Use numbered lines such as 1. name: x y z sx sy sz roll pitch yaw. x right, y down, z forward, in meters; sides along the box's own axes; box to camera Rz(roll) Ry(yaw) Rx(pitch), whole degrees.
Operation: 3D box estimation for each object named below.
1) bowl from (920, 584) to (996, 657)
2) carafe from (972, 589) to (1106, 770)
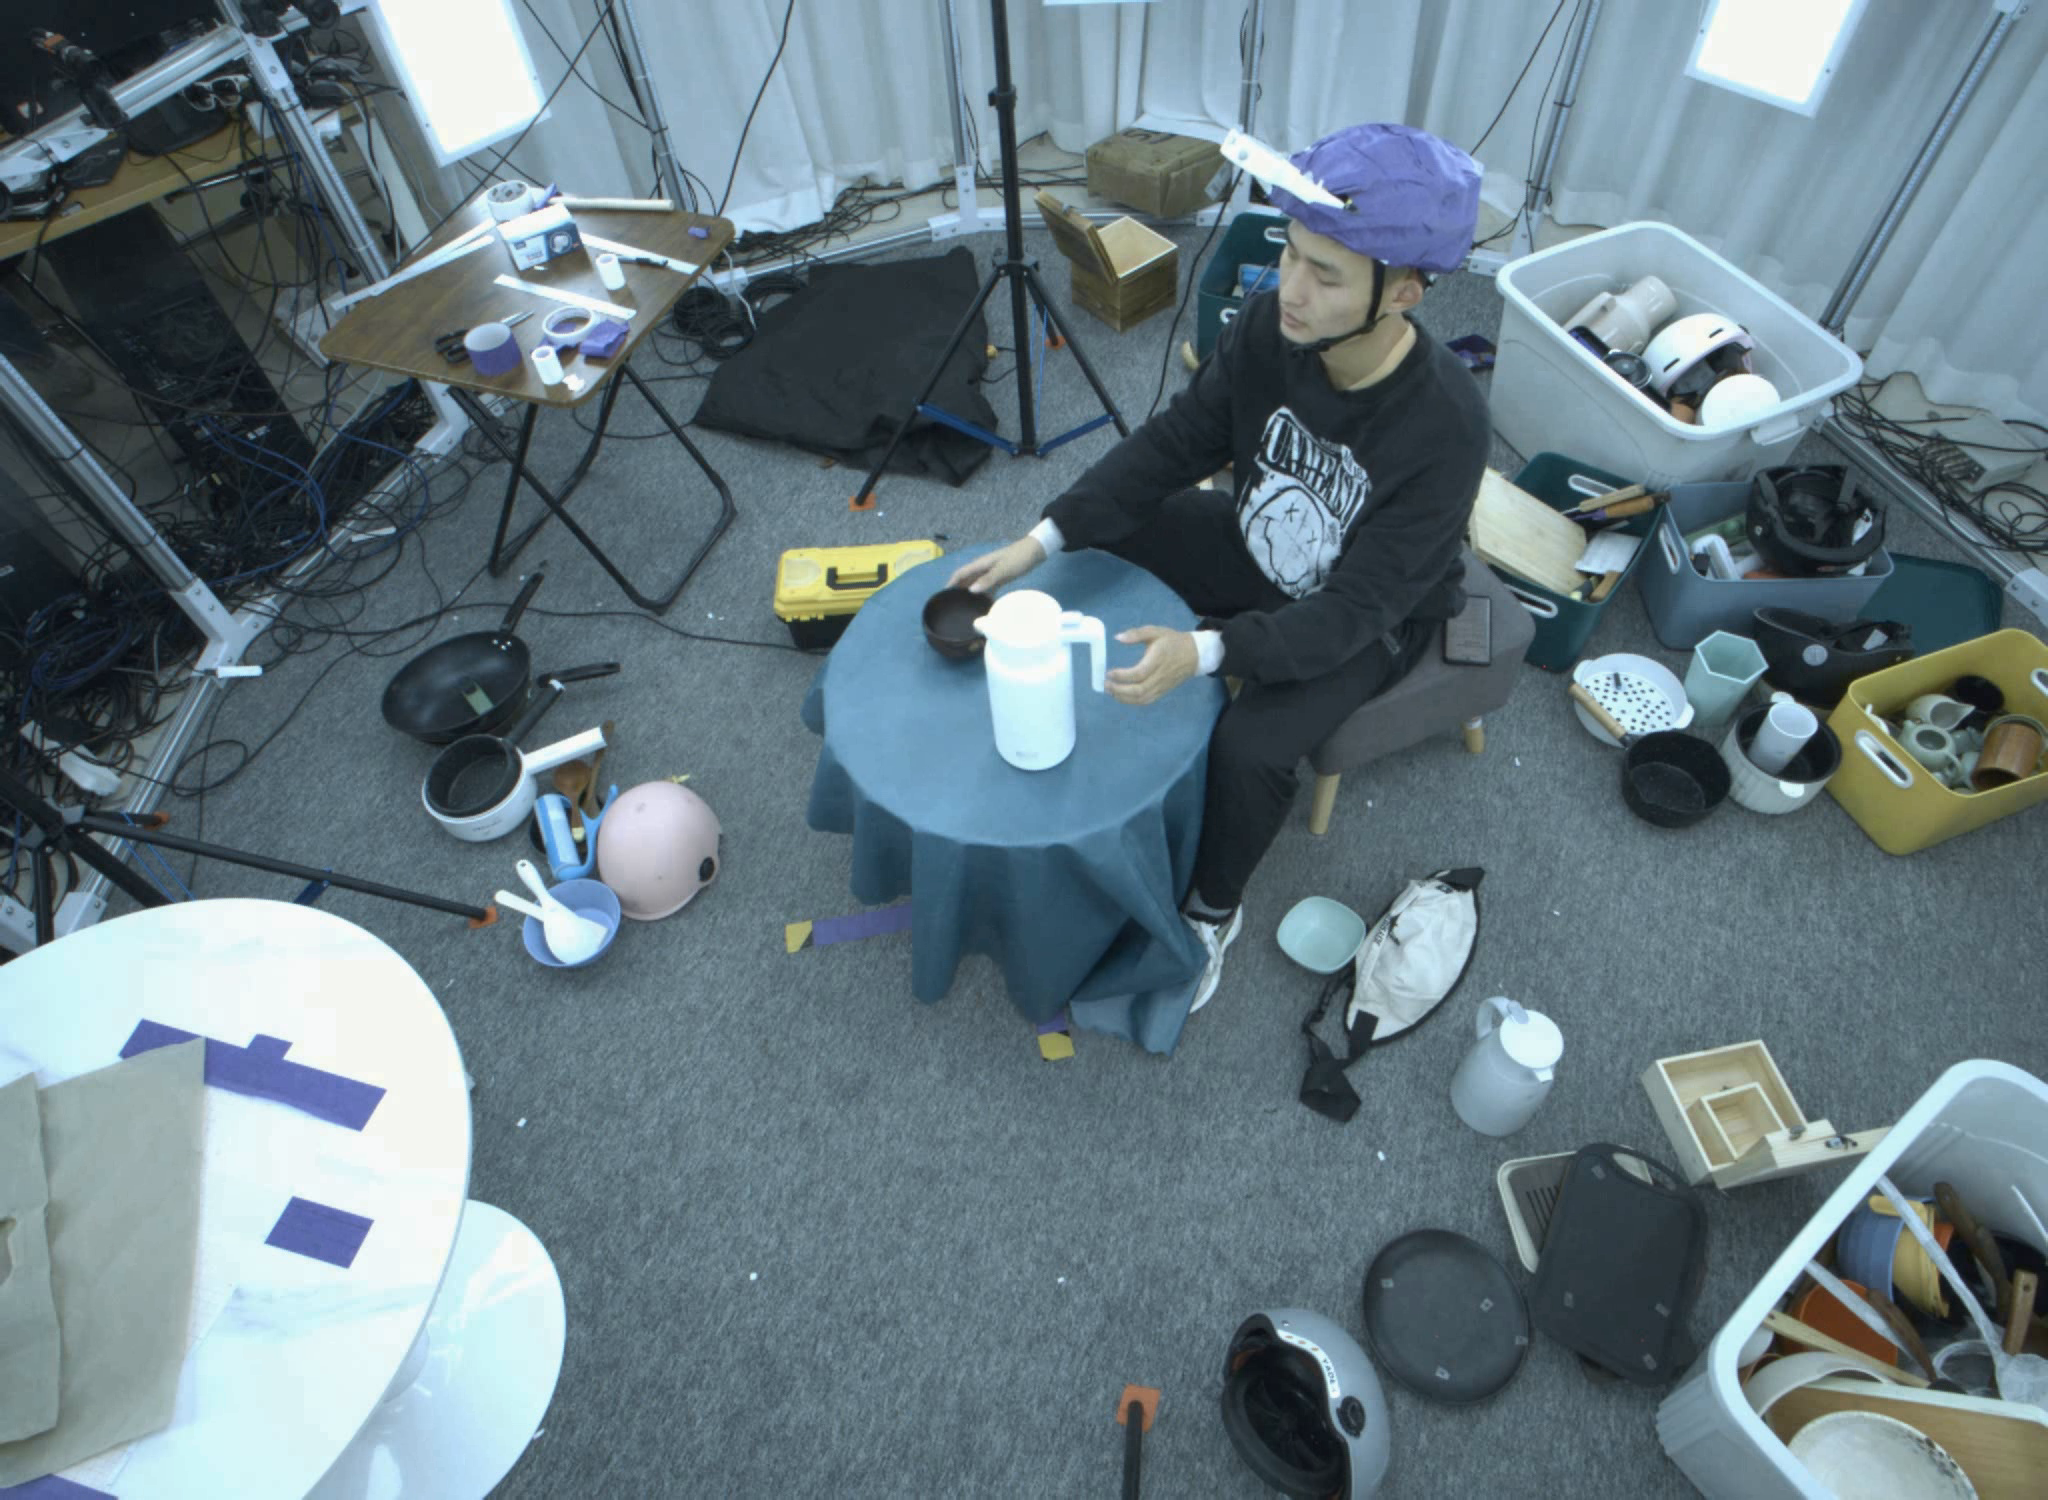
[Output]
1. bowl: -0.098 -0.190 1.876 0.118 0.070 0.117 -1 55 3
2. carafe: 0.026 -0.094 1.685 0.173 0.272 0.122 -3 52 2
